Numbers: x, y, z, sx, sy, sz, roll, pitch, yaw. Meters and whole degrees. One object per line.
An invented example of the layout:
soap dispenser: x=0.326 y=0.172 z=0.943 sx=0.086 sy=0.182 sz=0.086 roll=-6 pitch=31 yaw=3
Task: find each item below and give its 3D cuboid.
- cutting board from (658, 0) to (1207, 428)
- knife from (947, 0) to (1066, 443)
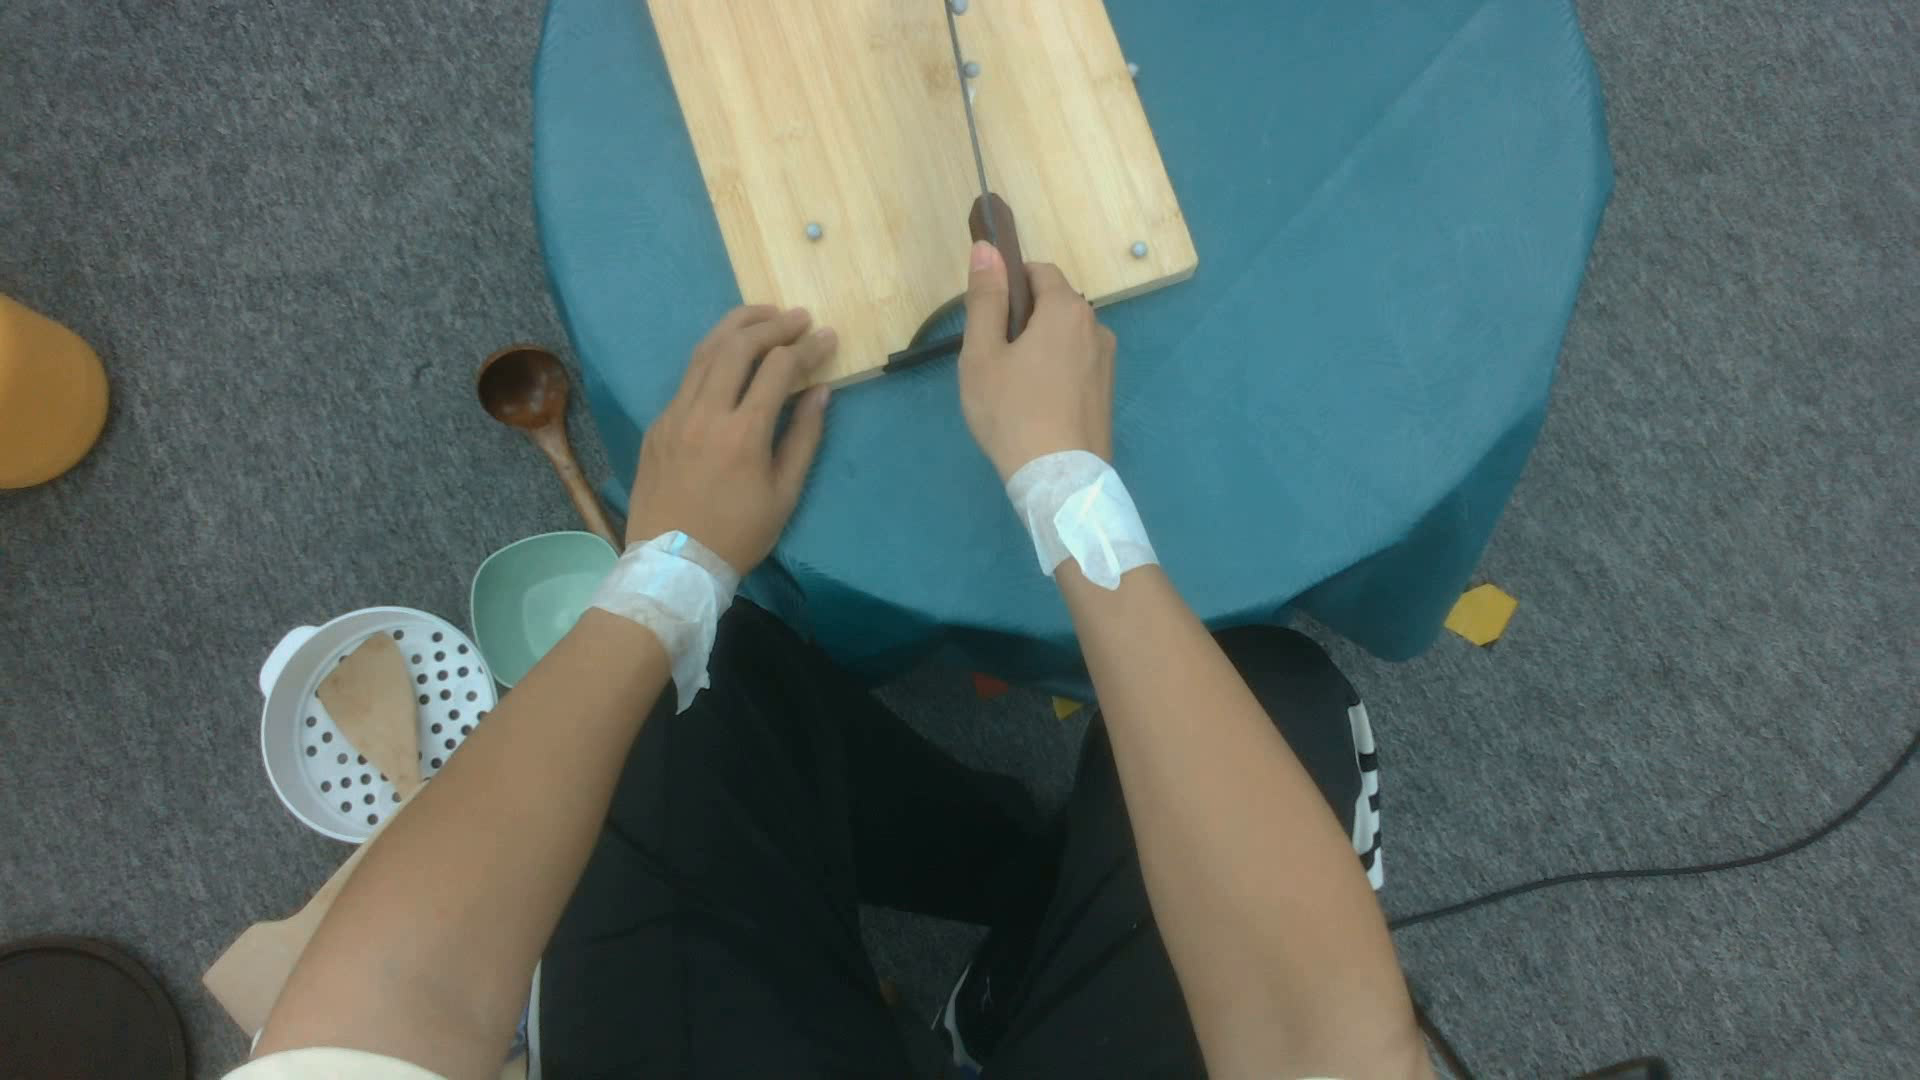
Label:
cutting board: x=-0.032 y=-0.260 z=0.784 sx=0.251 sy=0.023 sz=0.349 roll=-19 pitch=79 yaw=-4
knife: x=0.016 y=-0.186 z=0.723 sx=0.024 sy=0.068 sz=0.300 roll=-12 pitch=76 yaw=5
